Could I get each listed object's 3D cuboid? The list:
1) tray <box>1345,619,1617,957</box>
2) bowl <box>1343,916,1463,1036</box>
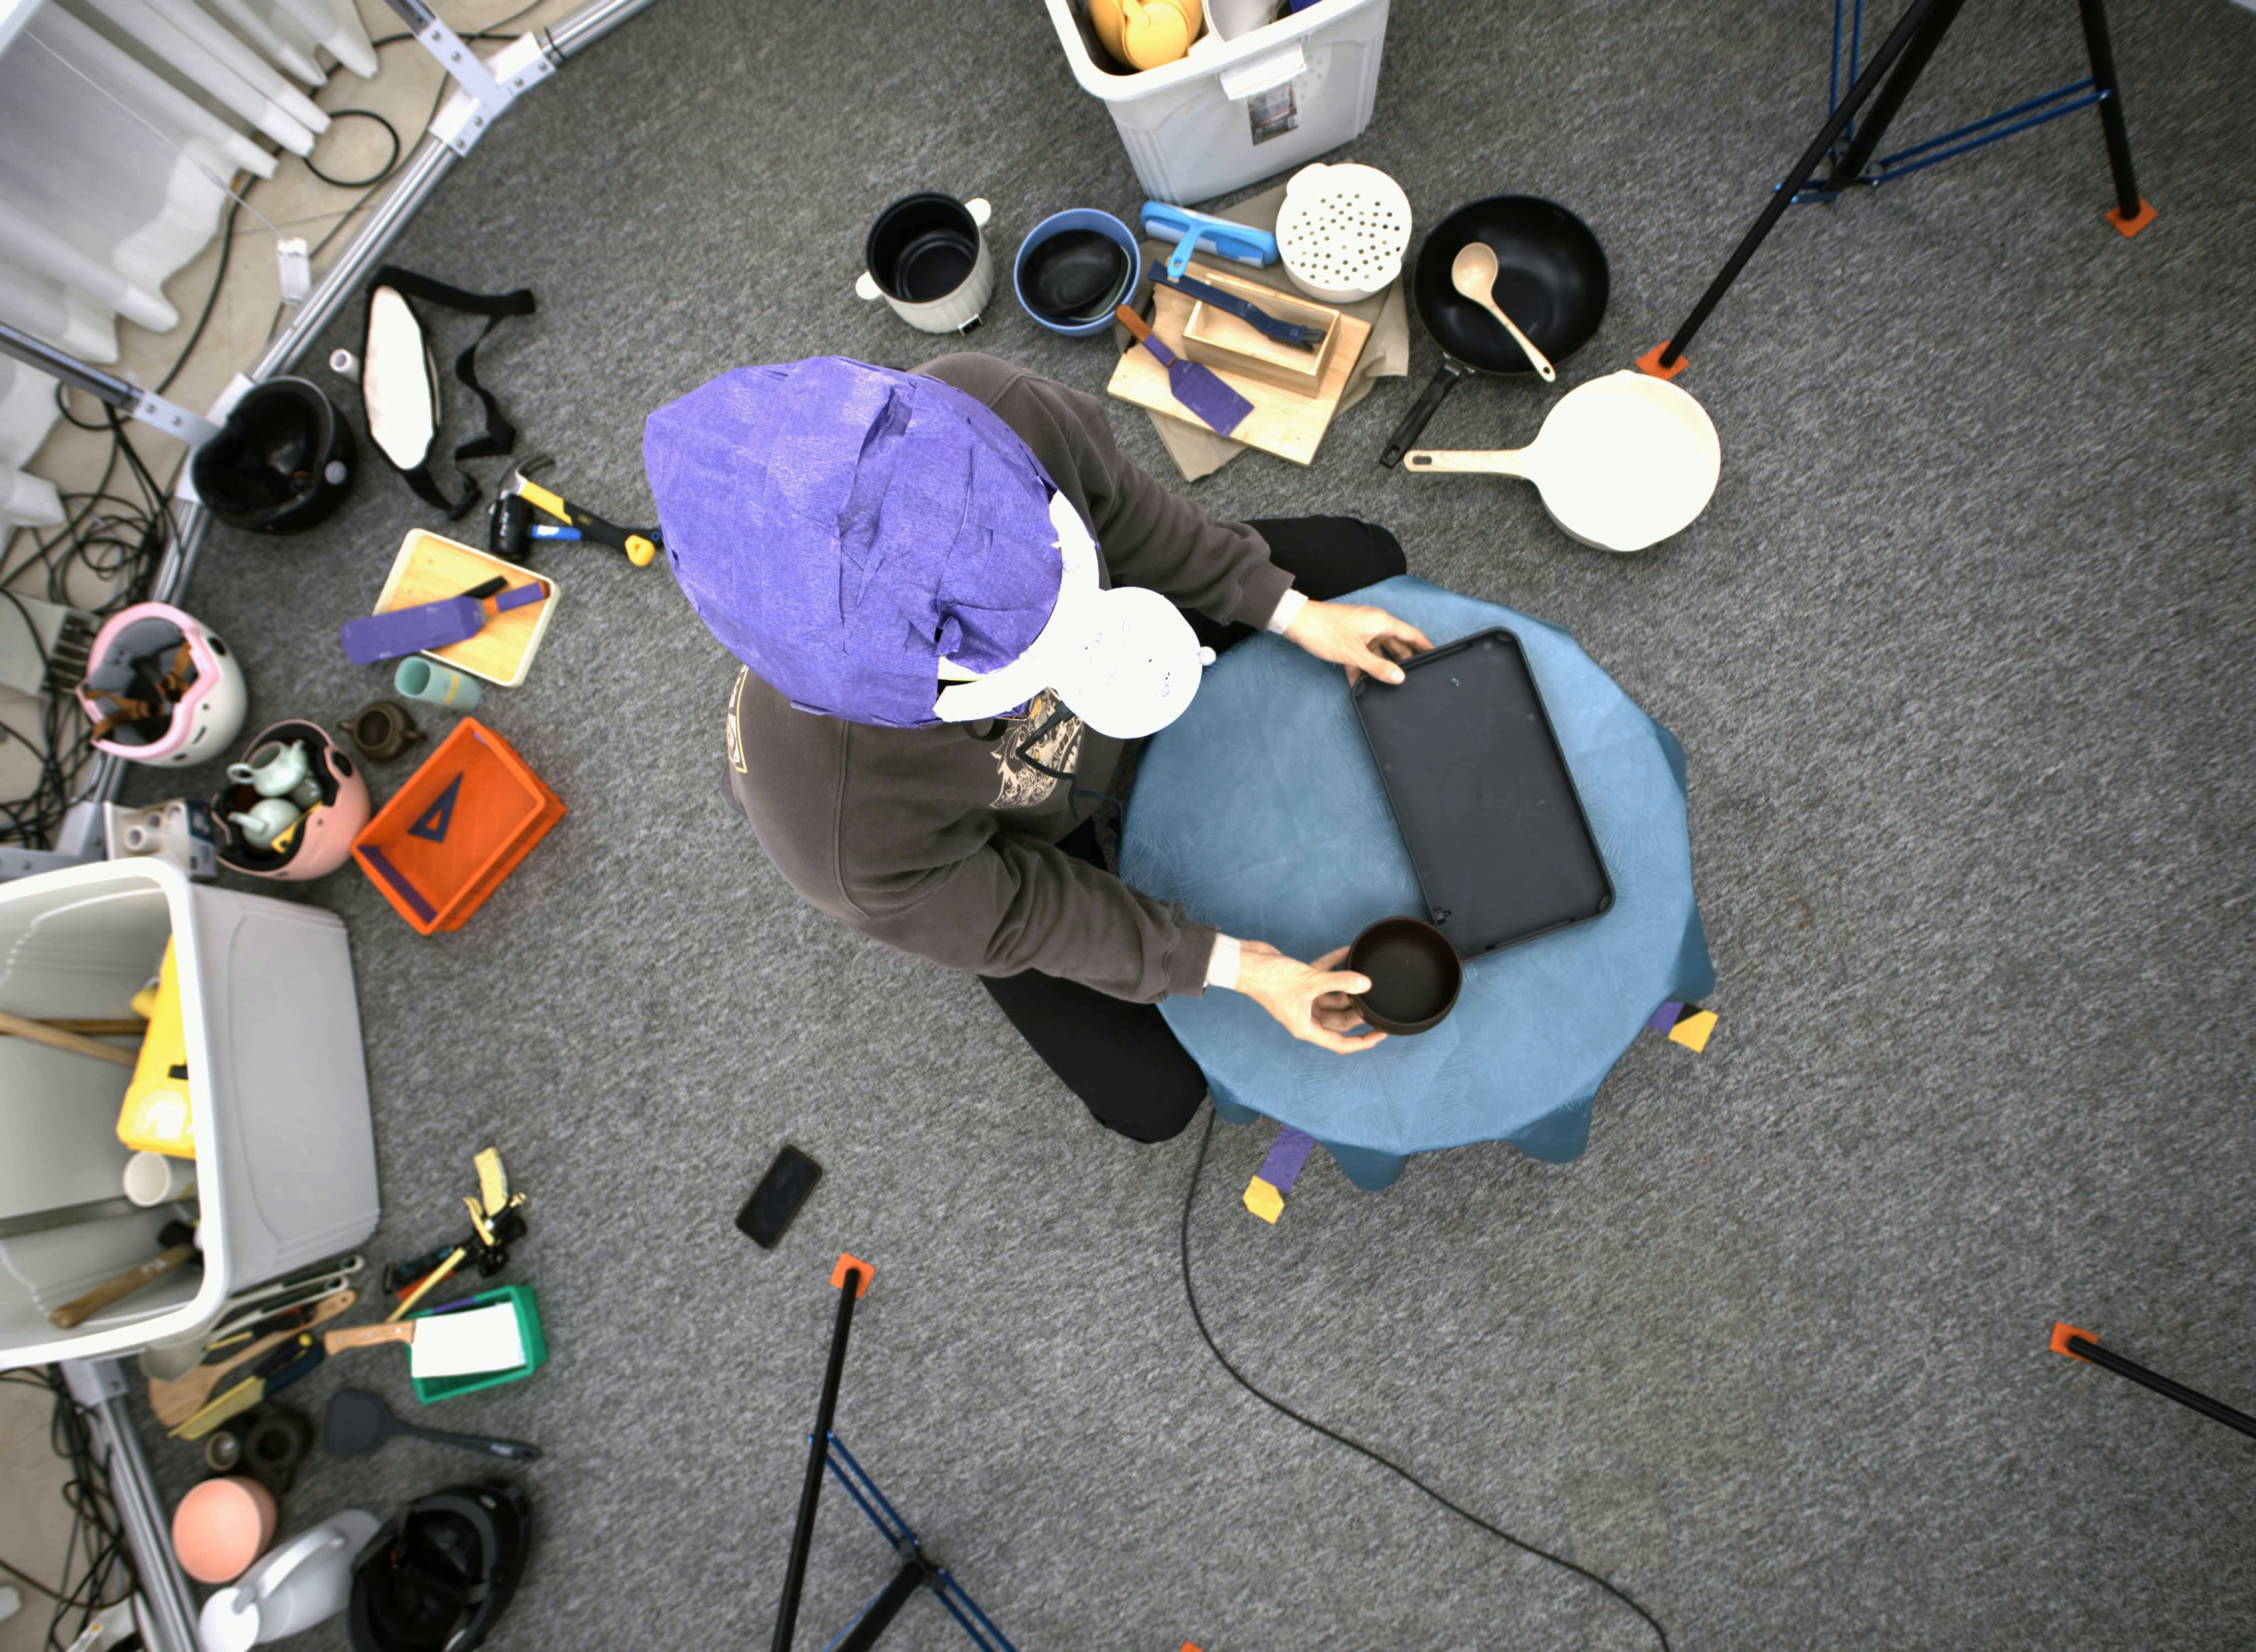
[{"bbox_3d":[0.363,-0.041,1.422,0.185,0.037,0.317,-22,87,10],"label":"tray"},{"bbox_3d":[0.276,0.156,1.399,0.118,0.071,0.115,-2,64,4],"label":"bowl"}]
